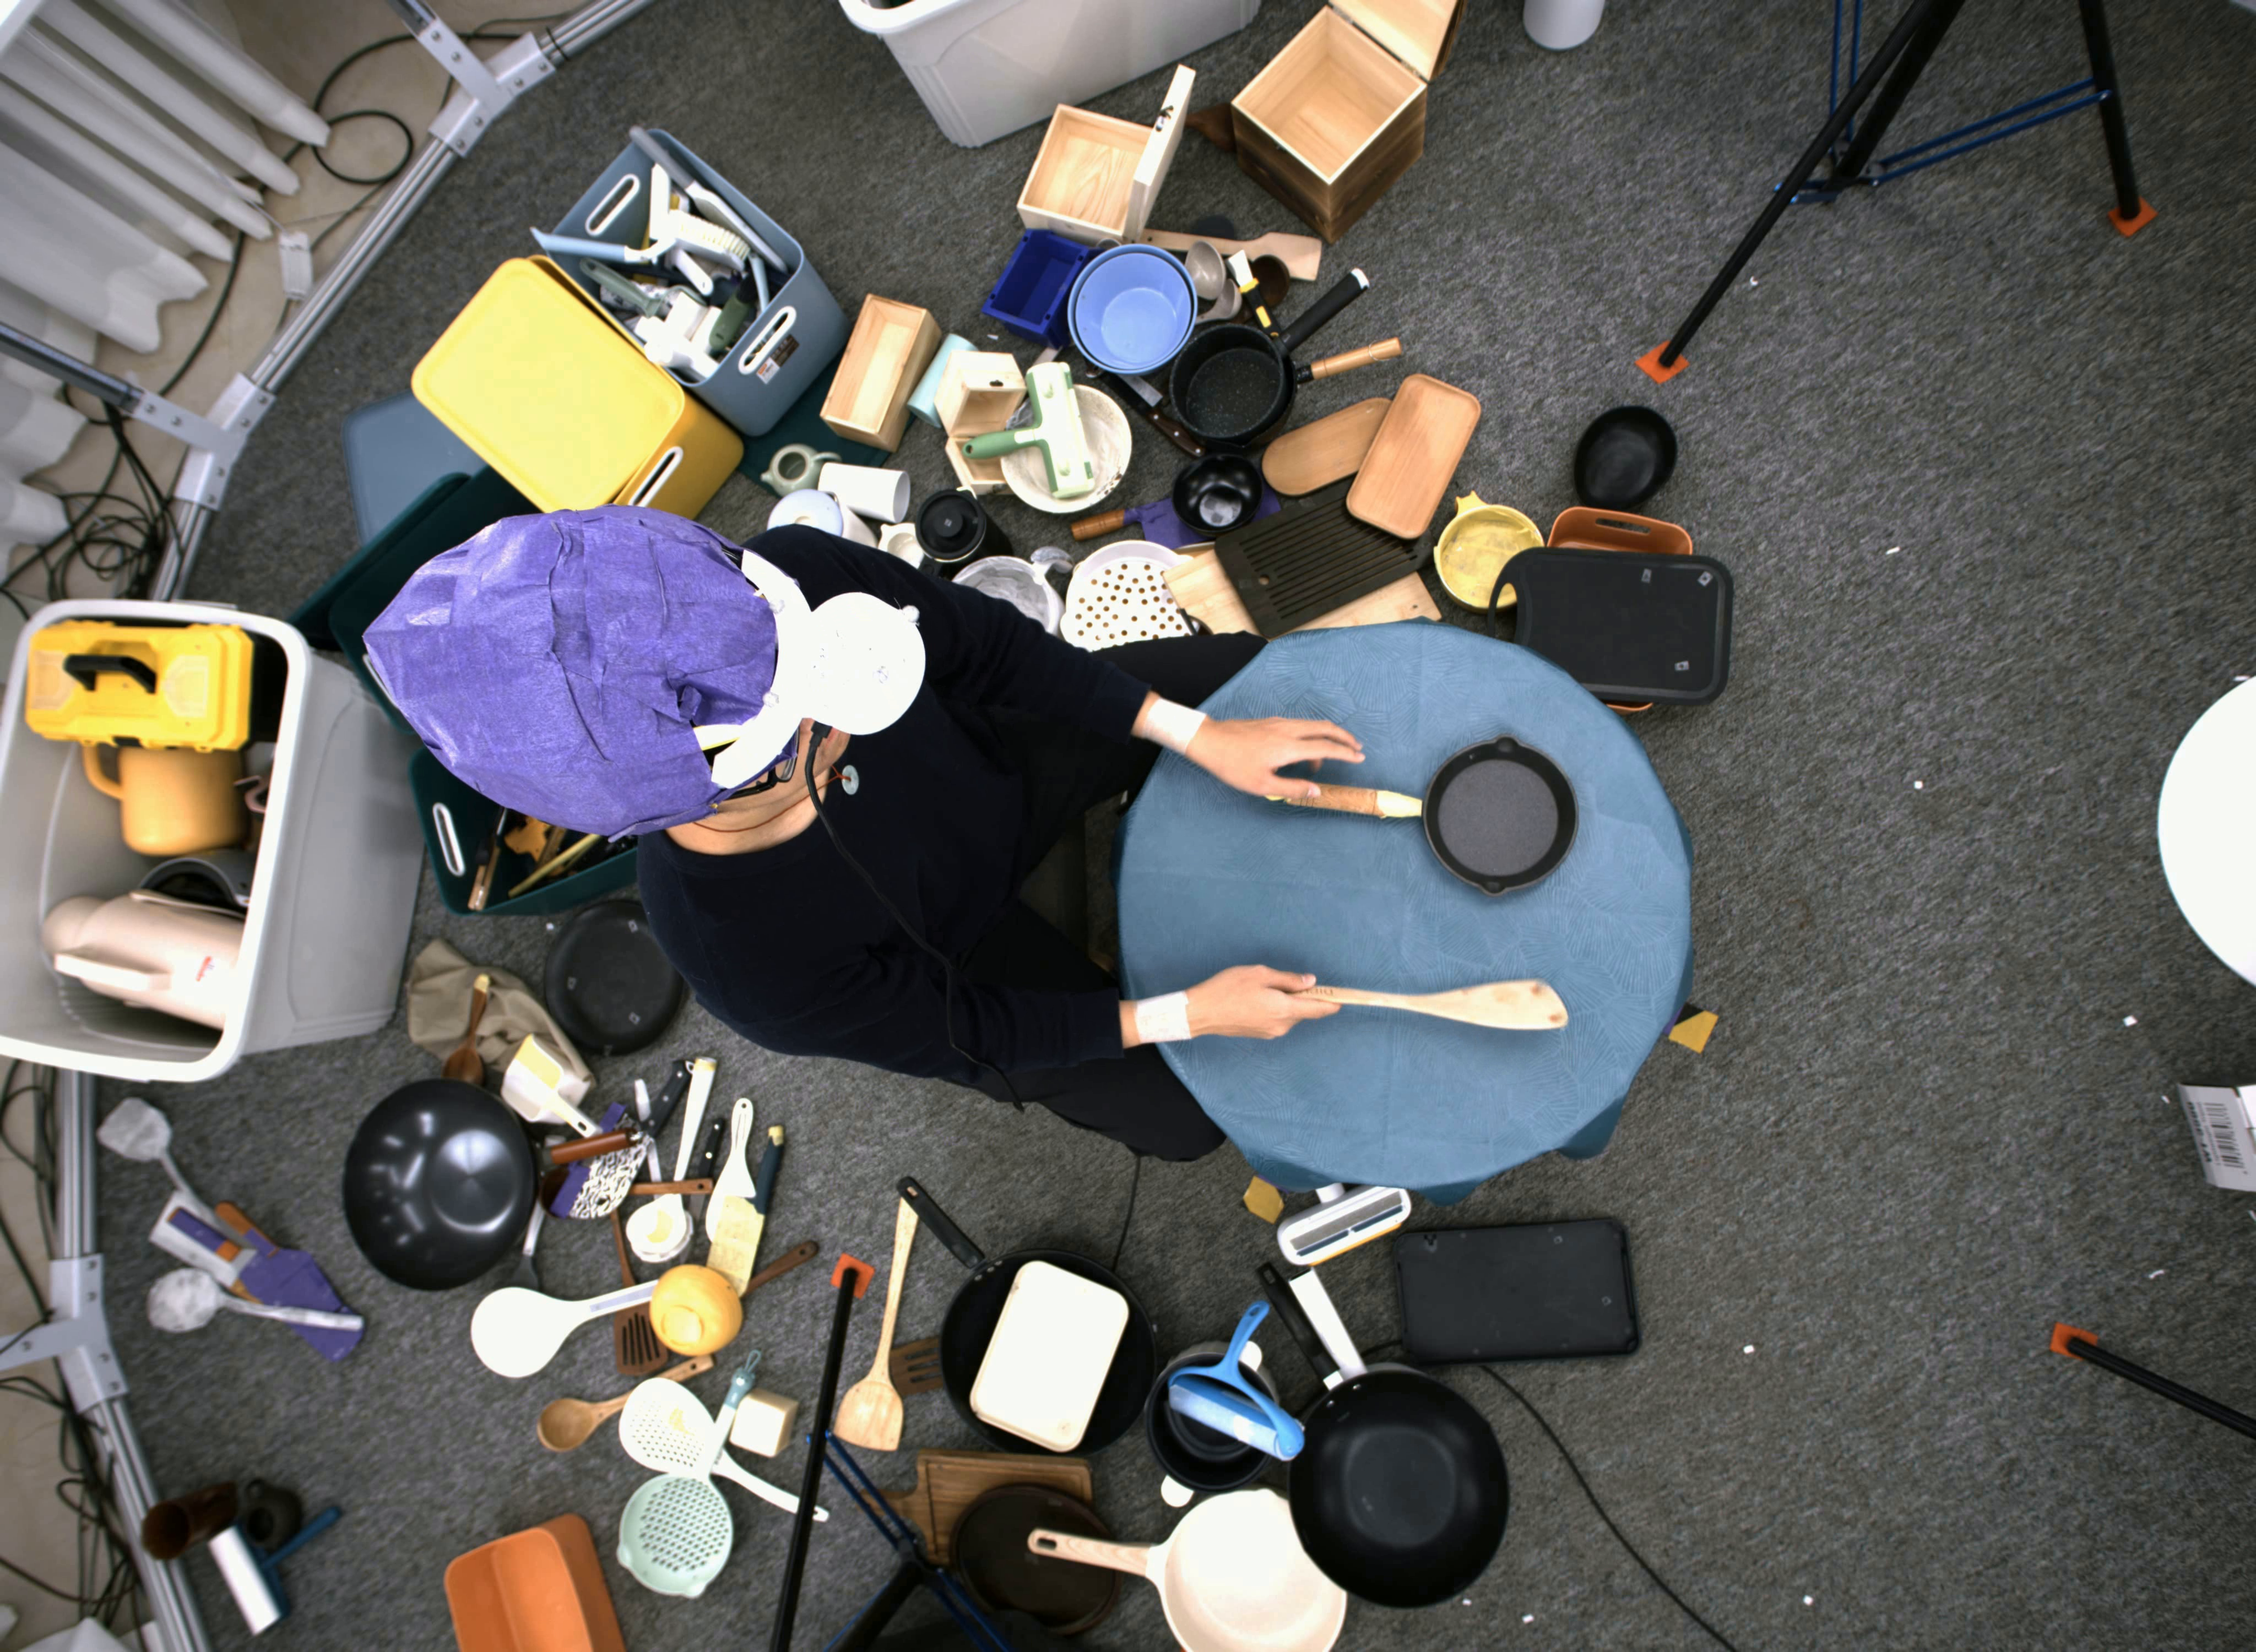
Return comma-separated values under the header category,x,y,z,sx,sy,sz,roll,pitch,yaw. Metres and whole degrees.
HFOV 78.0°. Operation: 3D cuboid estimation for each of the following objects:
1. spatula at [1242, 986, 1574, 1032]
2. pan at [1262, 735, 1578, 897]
category,x,y,z,sx,sy,sz,roll,pitch,yaw
spatula,0.280,0.175,1.401,0.328,0.078,0.017,3,116,4
pan,0.302,-0.024,1.434,0.325,0.049,0.168,8,88,9
